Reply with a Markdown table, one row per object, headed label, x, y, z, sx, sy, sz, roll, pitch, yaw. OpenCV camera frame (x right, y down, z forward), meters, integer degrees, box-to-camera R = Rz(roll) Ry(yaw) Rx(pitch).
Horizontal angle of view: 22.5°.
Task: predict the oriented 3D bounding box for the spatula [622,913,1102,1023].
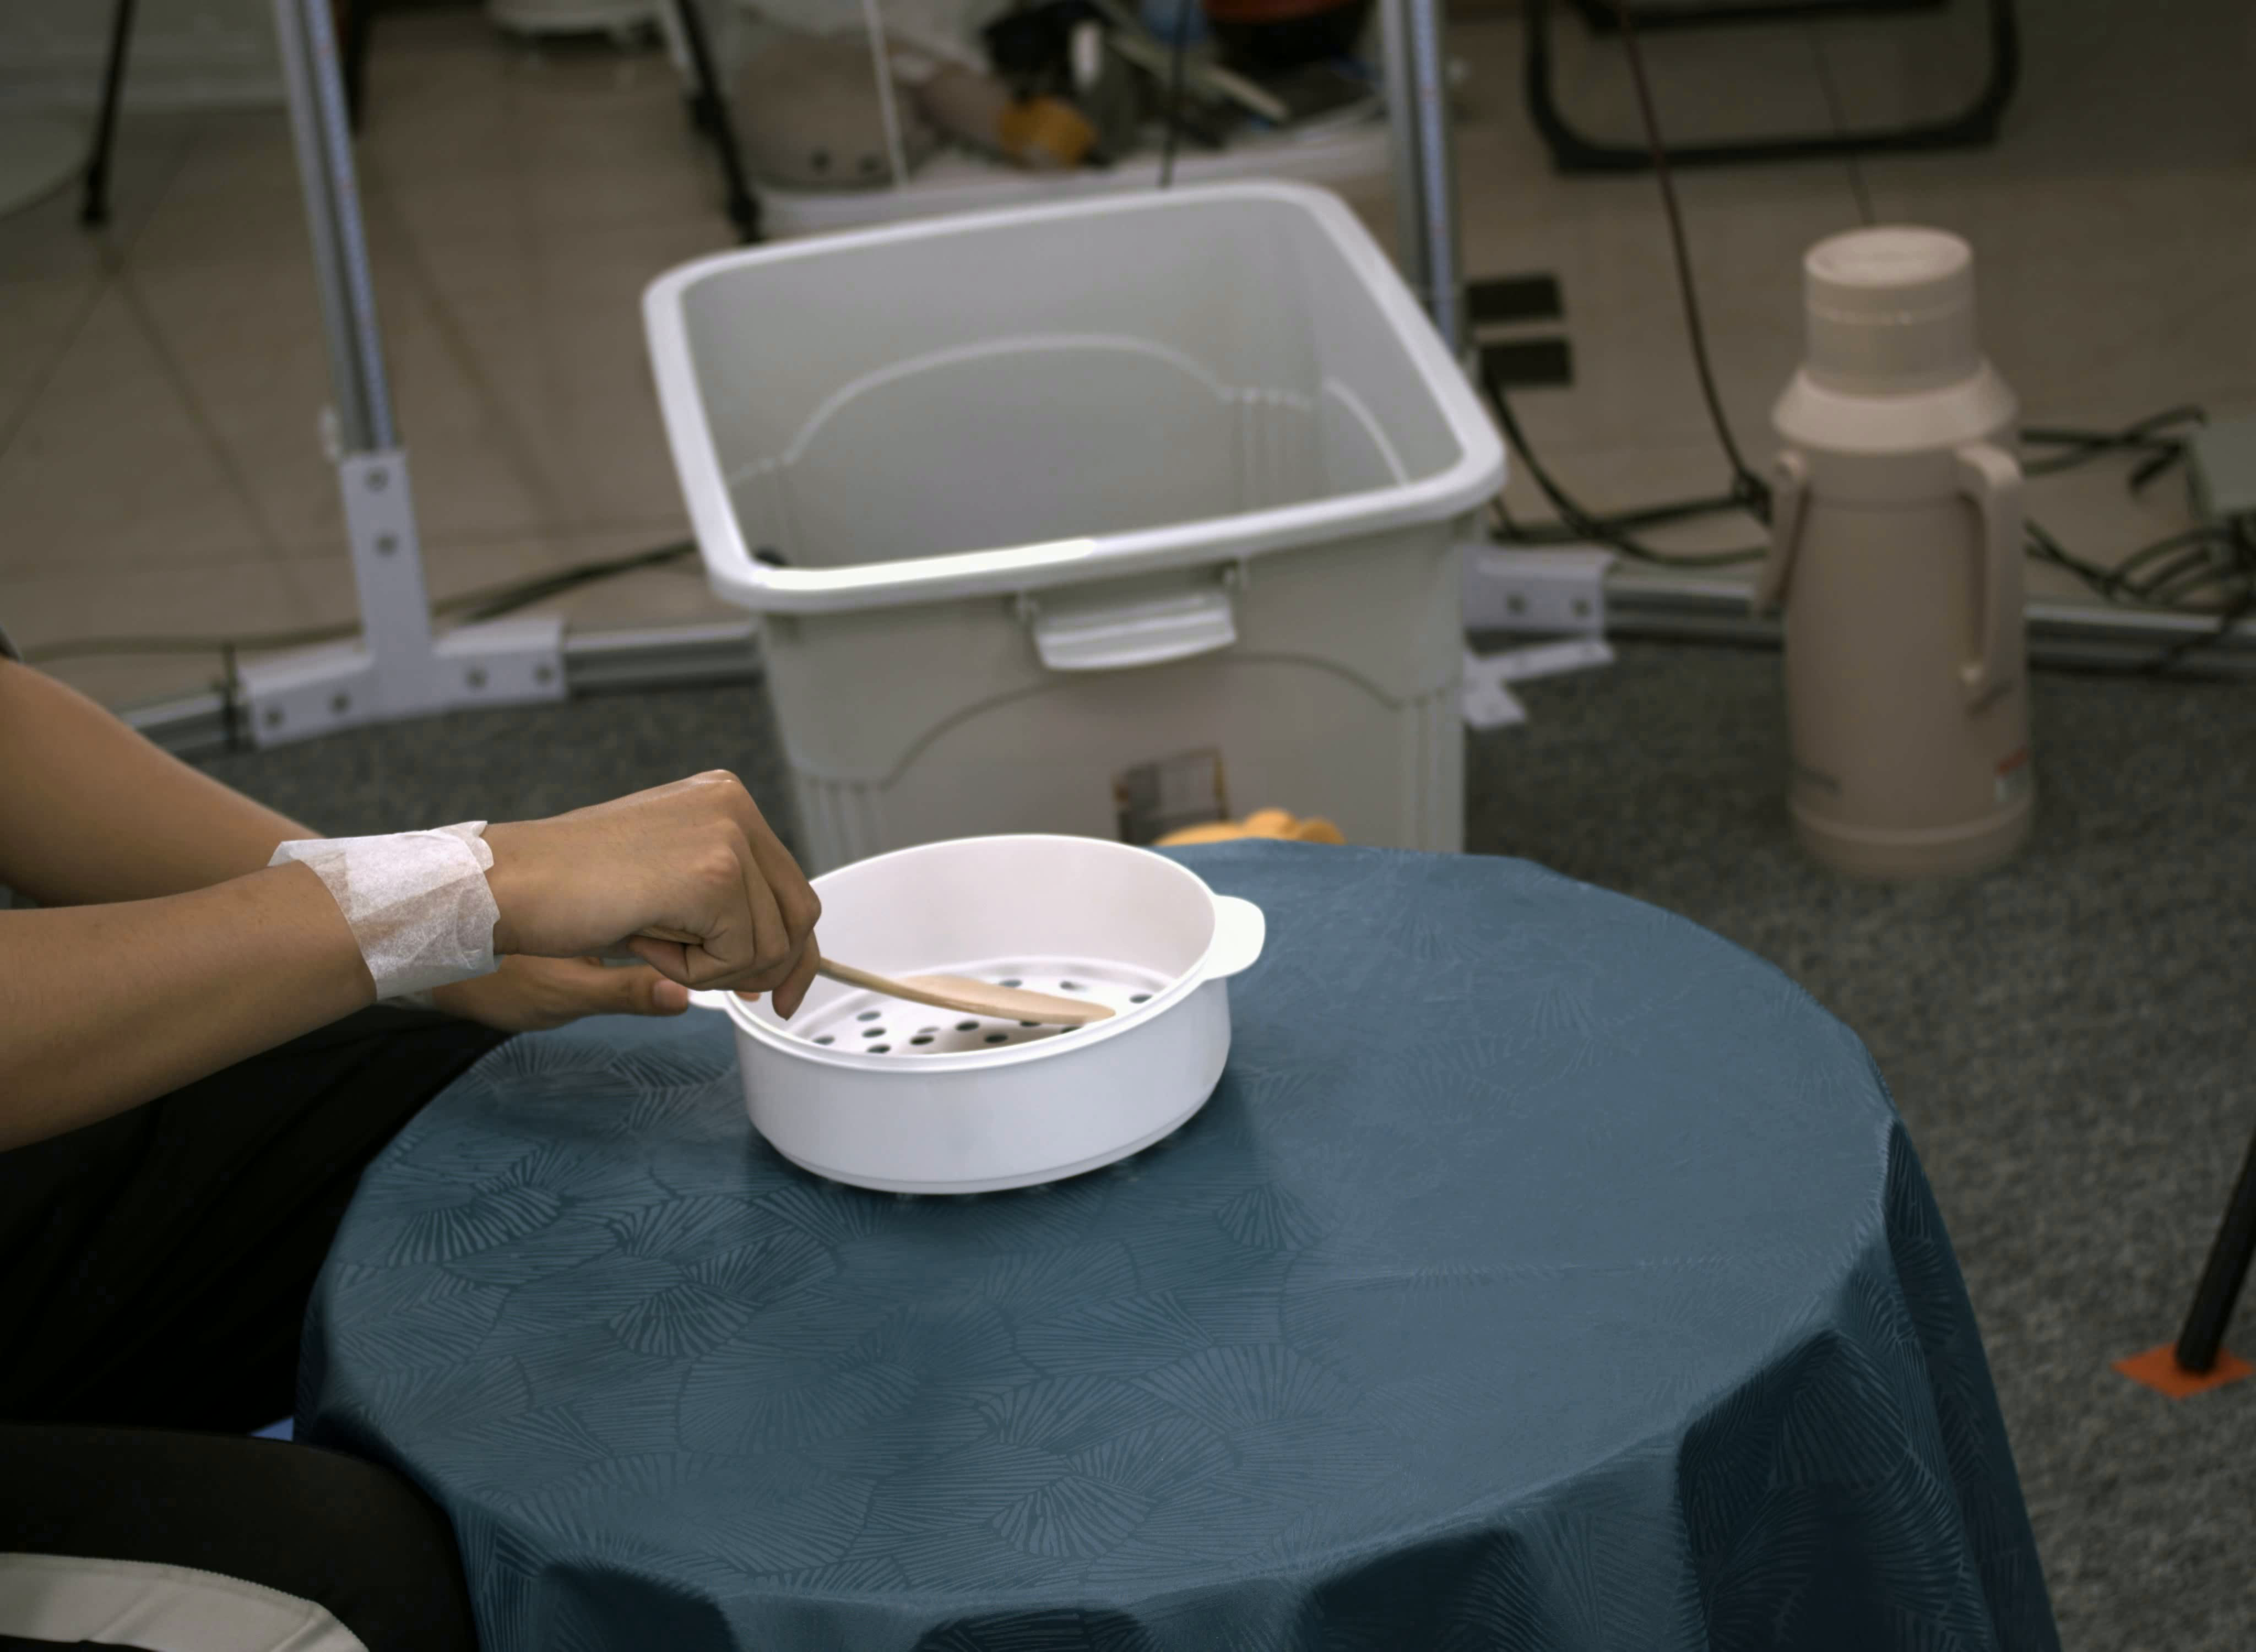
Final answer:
| label | x | y | z | sx | sy | sz | roll | pitch | yaw |
| --- | --- | --- | --- | --- | --- | --- | --- | --- | --- |
| spatula | -0.103 | 0.052 | 2.120 | 0.079 | 0.016 | 0.329 | 11 | -3 | 25 |

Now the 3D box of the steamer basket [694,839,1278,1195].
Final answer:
| label | x | y | z | sx | sy | sz | roll | pitch | yaw |
| --- | --- | --- | --- | --- | --- | --- | --- | --- | --- |
| steamer basket | -0.053 | 0.075 | 2.223 | 0.230 | 0.070 | 0.199 | -4 | 24 | 7 |
